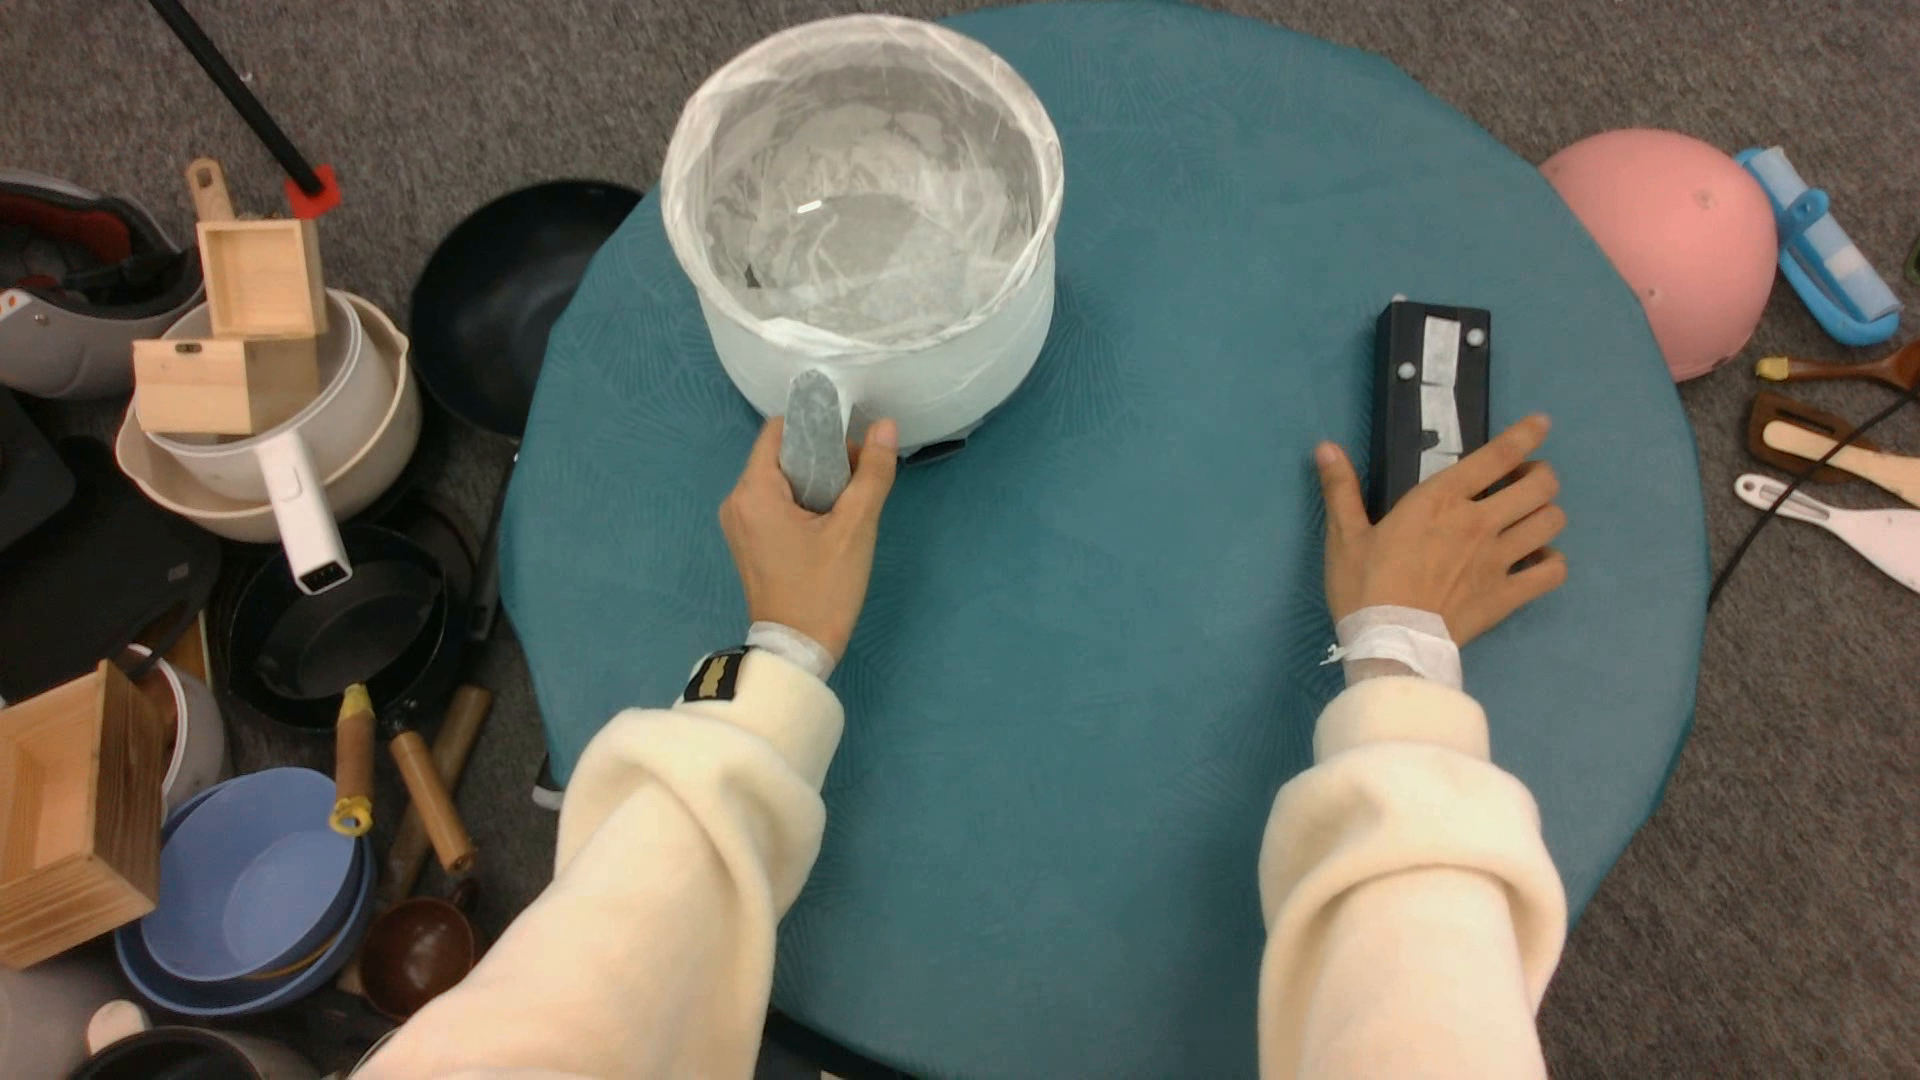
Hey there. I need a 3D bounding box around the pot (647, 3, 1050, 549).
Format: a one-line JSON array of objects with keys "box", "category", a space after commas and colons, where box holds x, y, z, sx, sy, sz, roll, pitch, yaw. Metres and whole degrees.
[{"box": [-0.052, -0.118, 0.655, 0.178, 0.136, 0.234, 8, 70, 4], "category": "pot"}]

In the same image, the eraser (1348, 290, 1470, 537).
[{"box": [0.226, -0.065, 0.694, 0.053, 0.030, 0.126, 7, 72, 4], "category": "eraser"}]
